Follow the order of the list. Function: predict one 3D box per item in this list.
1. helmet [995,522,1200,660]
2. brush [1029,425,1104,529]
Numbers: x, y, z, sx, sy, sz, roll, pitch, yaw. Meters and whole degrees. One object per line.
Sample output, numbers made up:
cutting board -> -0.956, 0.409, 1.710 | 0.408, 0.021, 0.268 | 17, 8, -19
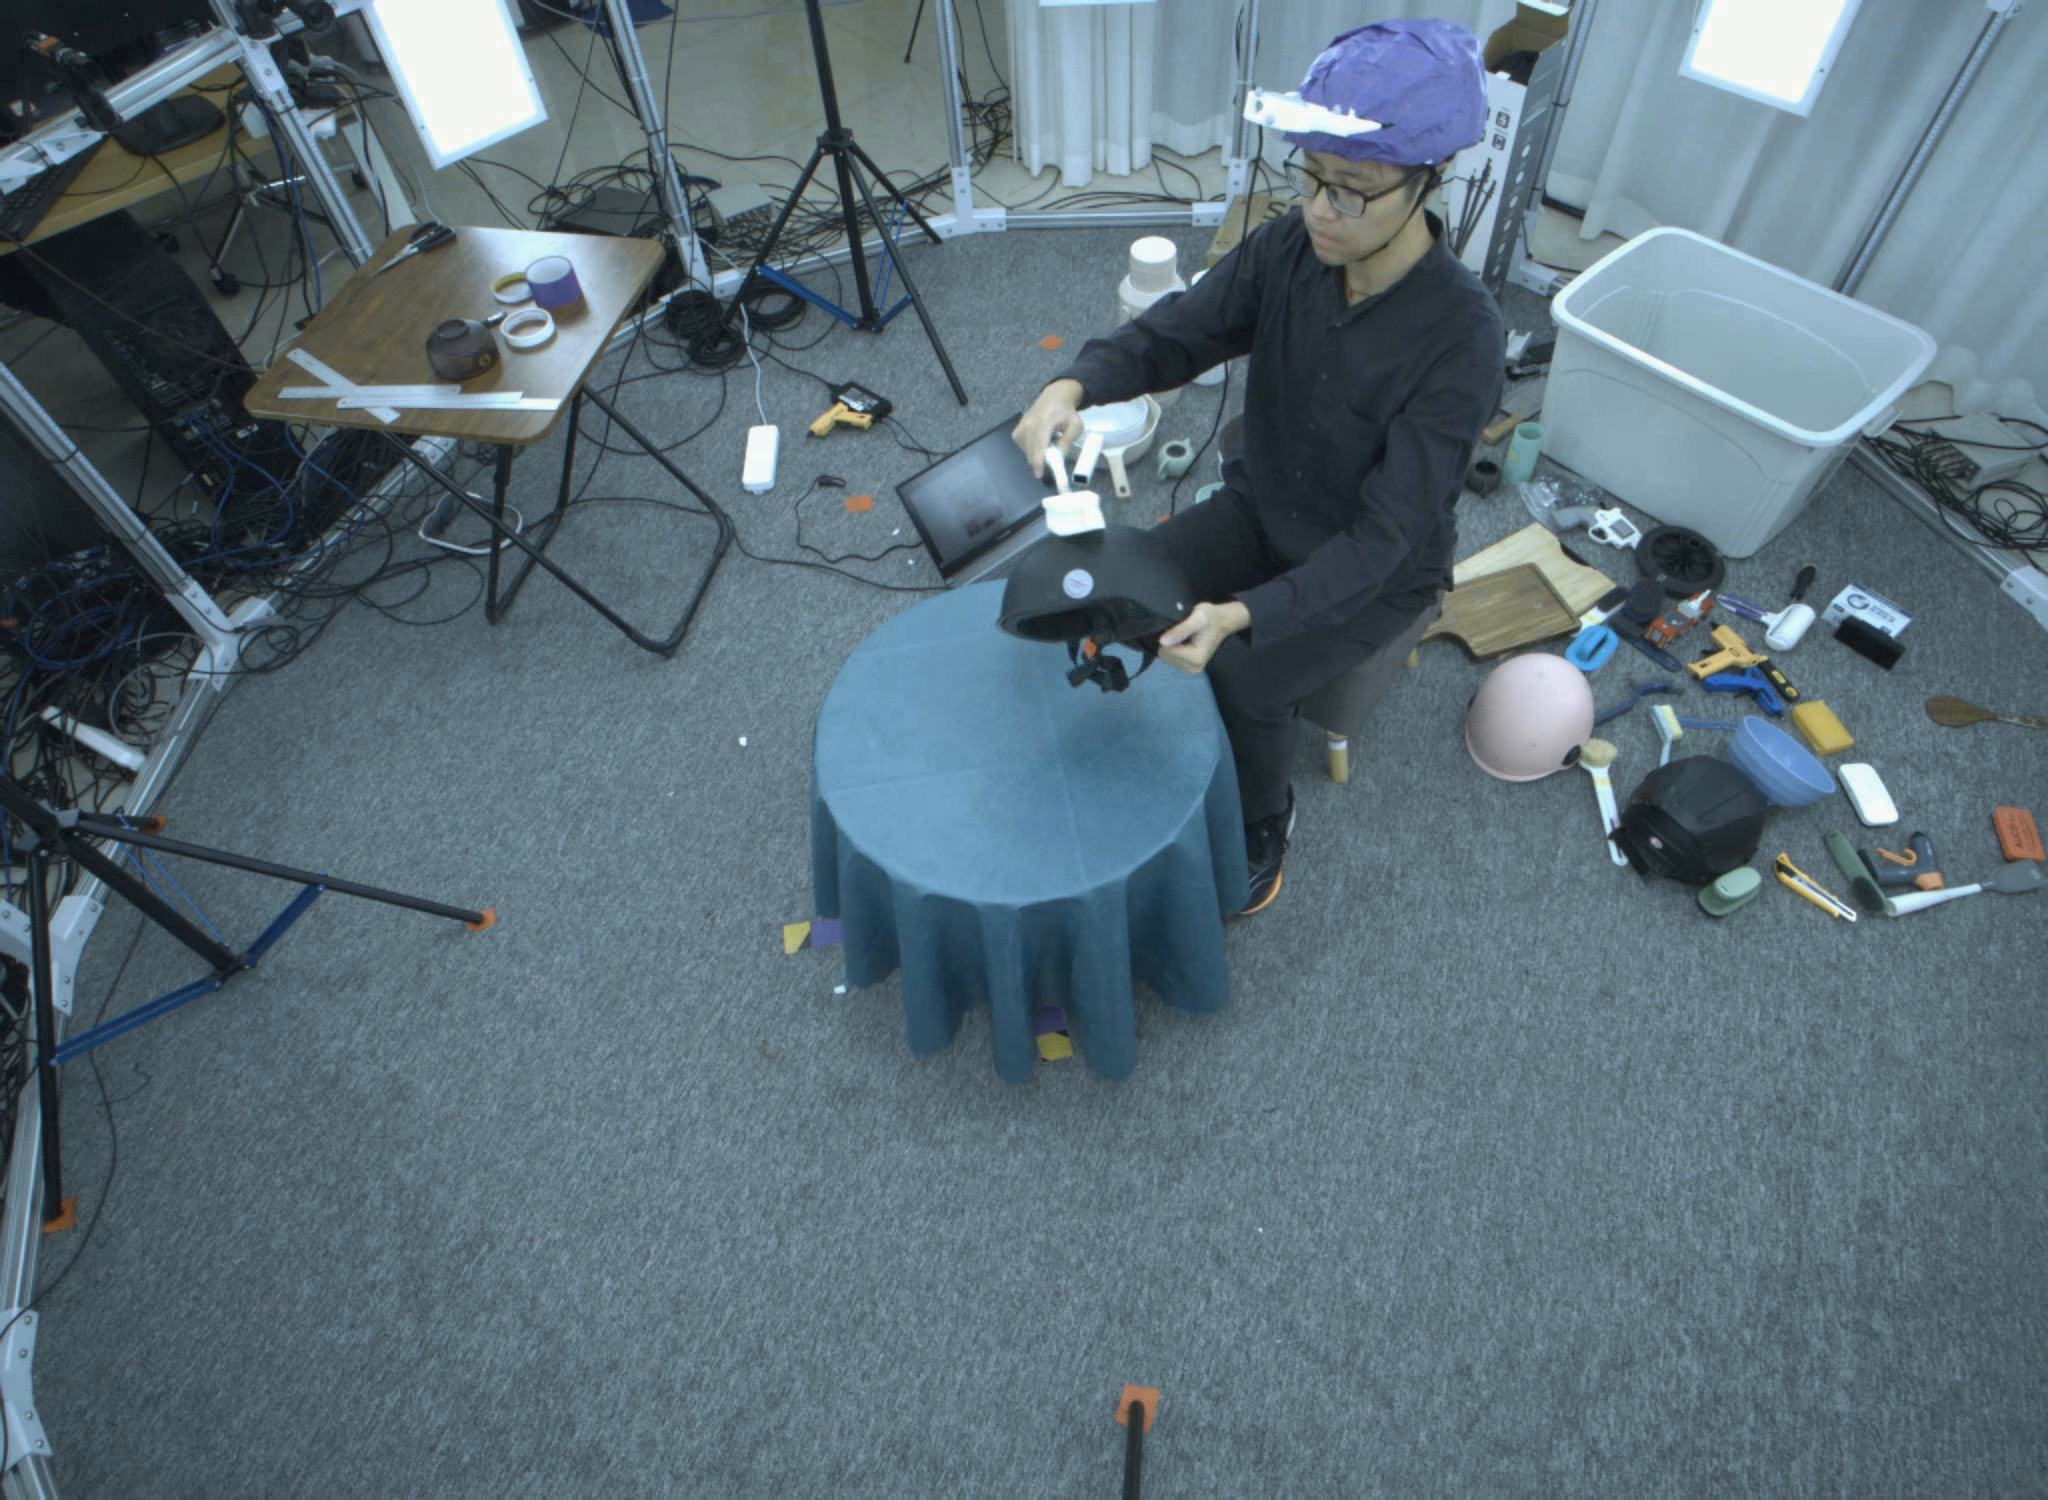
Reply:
helmet -> 0.104, -0.223, 1.658 | 0.273, 0.230, 0.166 | 7, 80, -1
brush -> 0.052, -0.360, 1.671 | 0.084, 0.084, 0.320 | 25, 22, -24
